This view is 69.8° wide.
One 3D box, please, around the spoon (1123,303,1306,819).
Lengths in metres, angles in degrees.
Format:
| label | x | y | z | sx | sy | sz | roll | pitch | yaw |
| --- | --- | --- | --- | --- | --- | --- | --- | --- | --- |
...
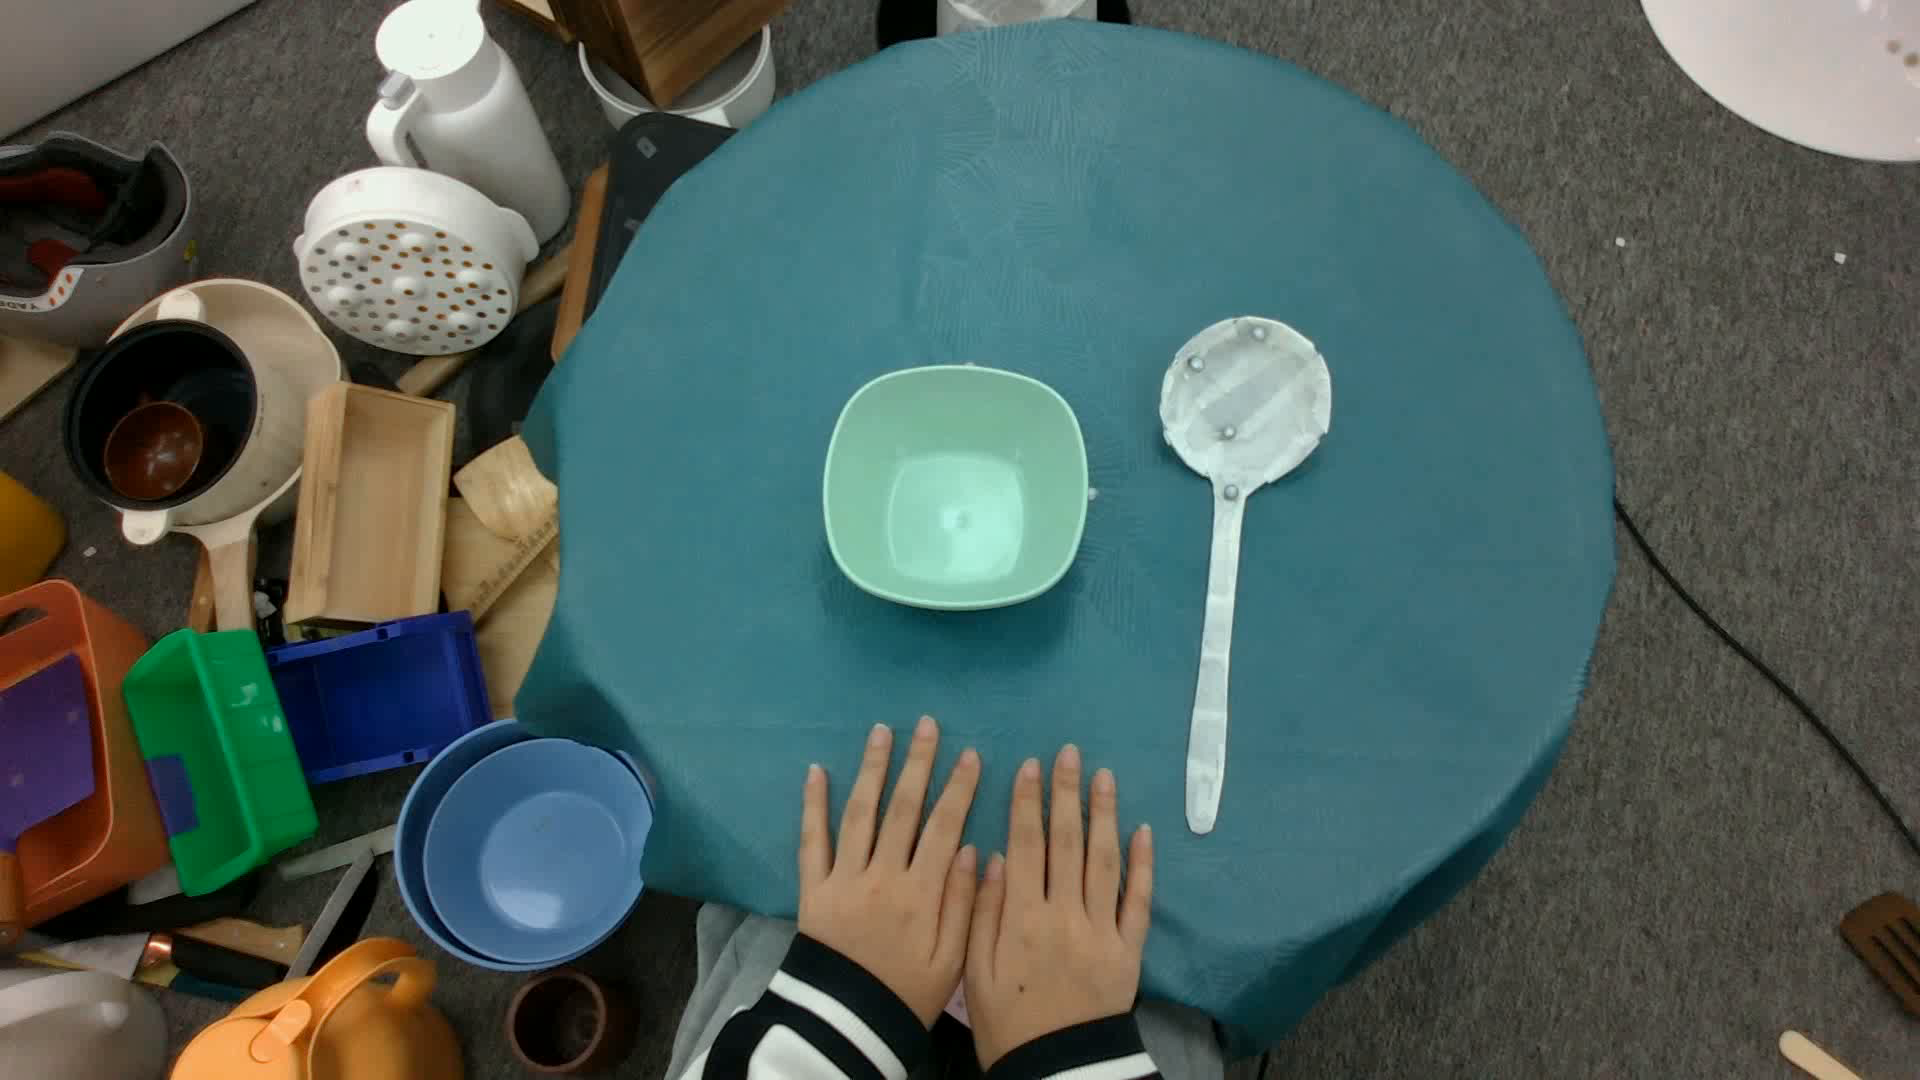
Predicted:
| label | x | y | z | sx | sy | sz | roll | pitch | yaw |
| --- | --- | --- | --- | --- | --- | --- | --- | --- | --- |
| spoon | 0.122 | 0.006 | 0.731 | 0.100 | 0.059 | 0.278 | 9 | 68 | 8 |

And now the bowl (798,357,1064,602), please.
| label | x | y | z | sx | sy | sz | roll | pitch | yaw |
| --- | --- | --- | --- | --- | --- | --- | --- | --- | --- |
| bowl | -0.015 | -0.025 | 0.743 | 0.151 | 0.058 | 0.152 | 0 | 68 | -1 |
